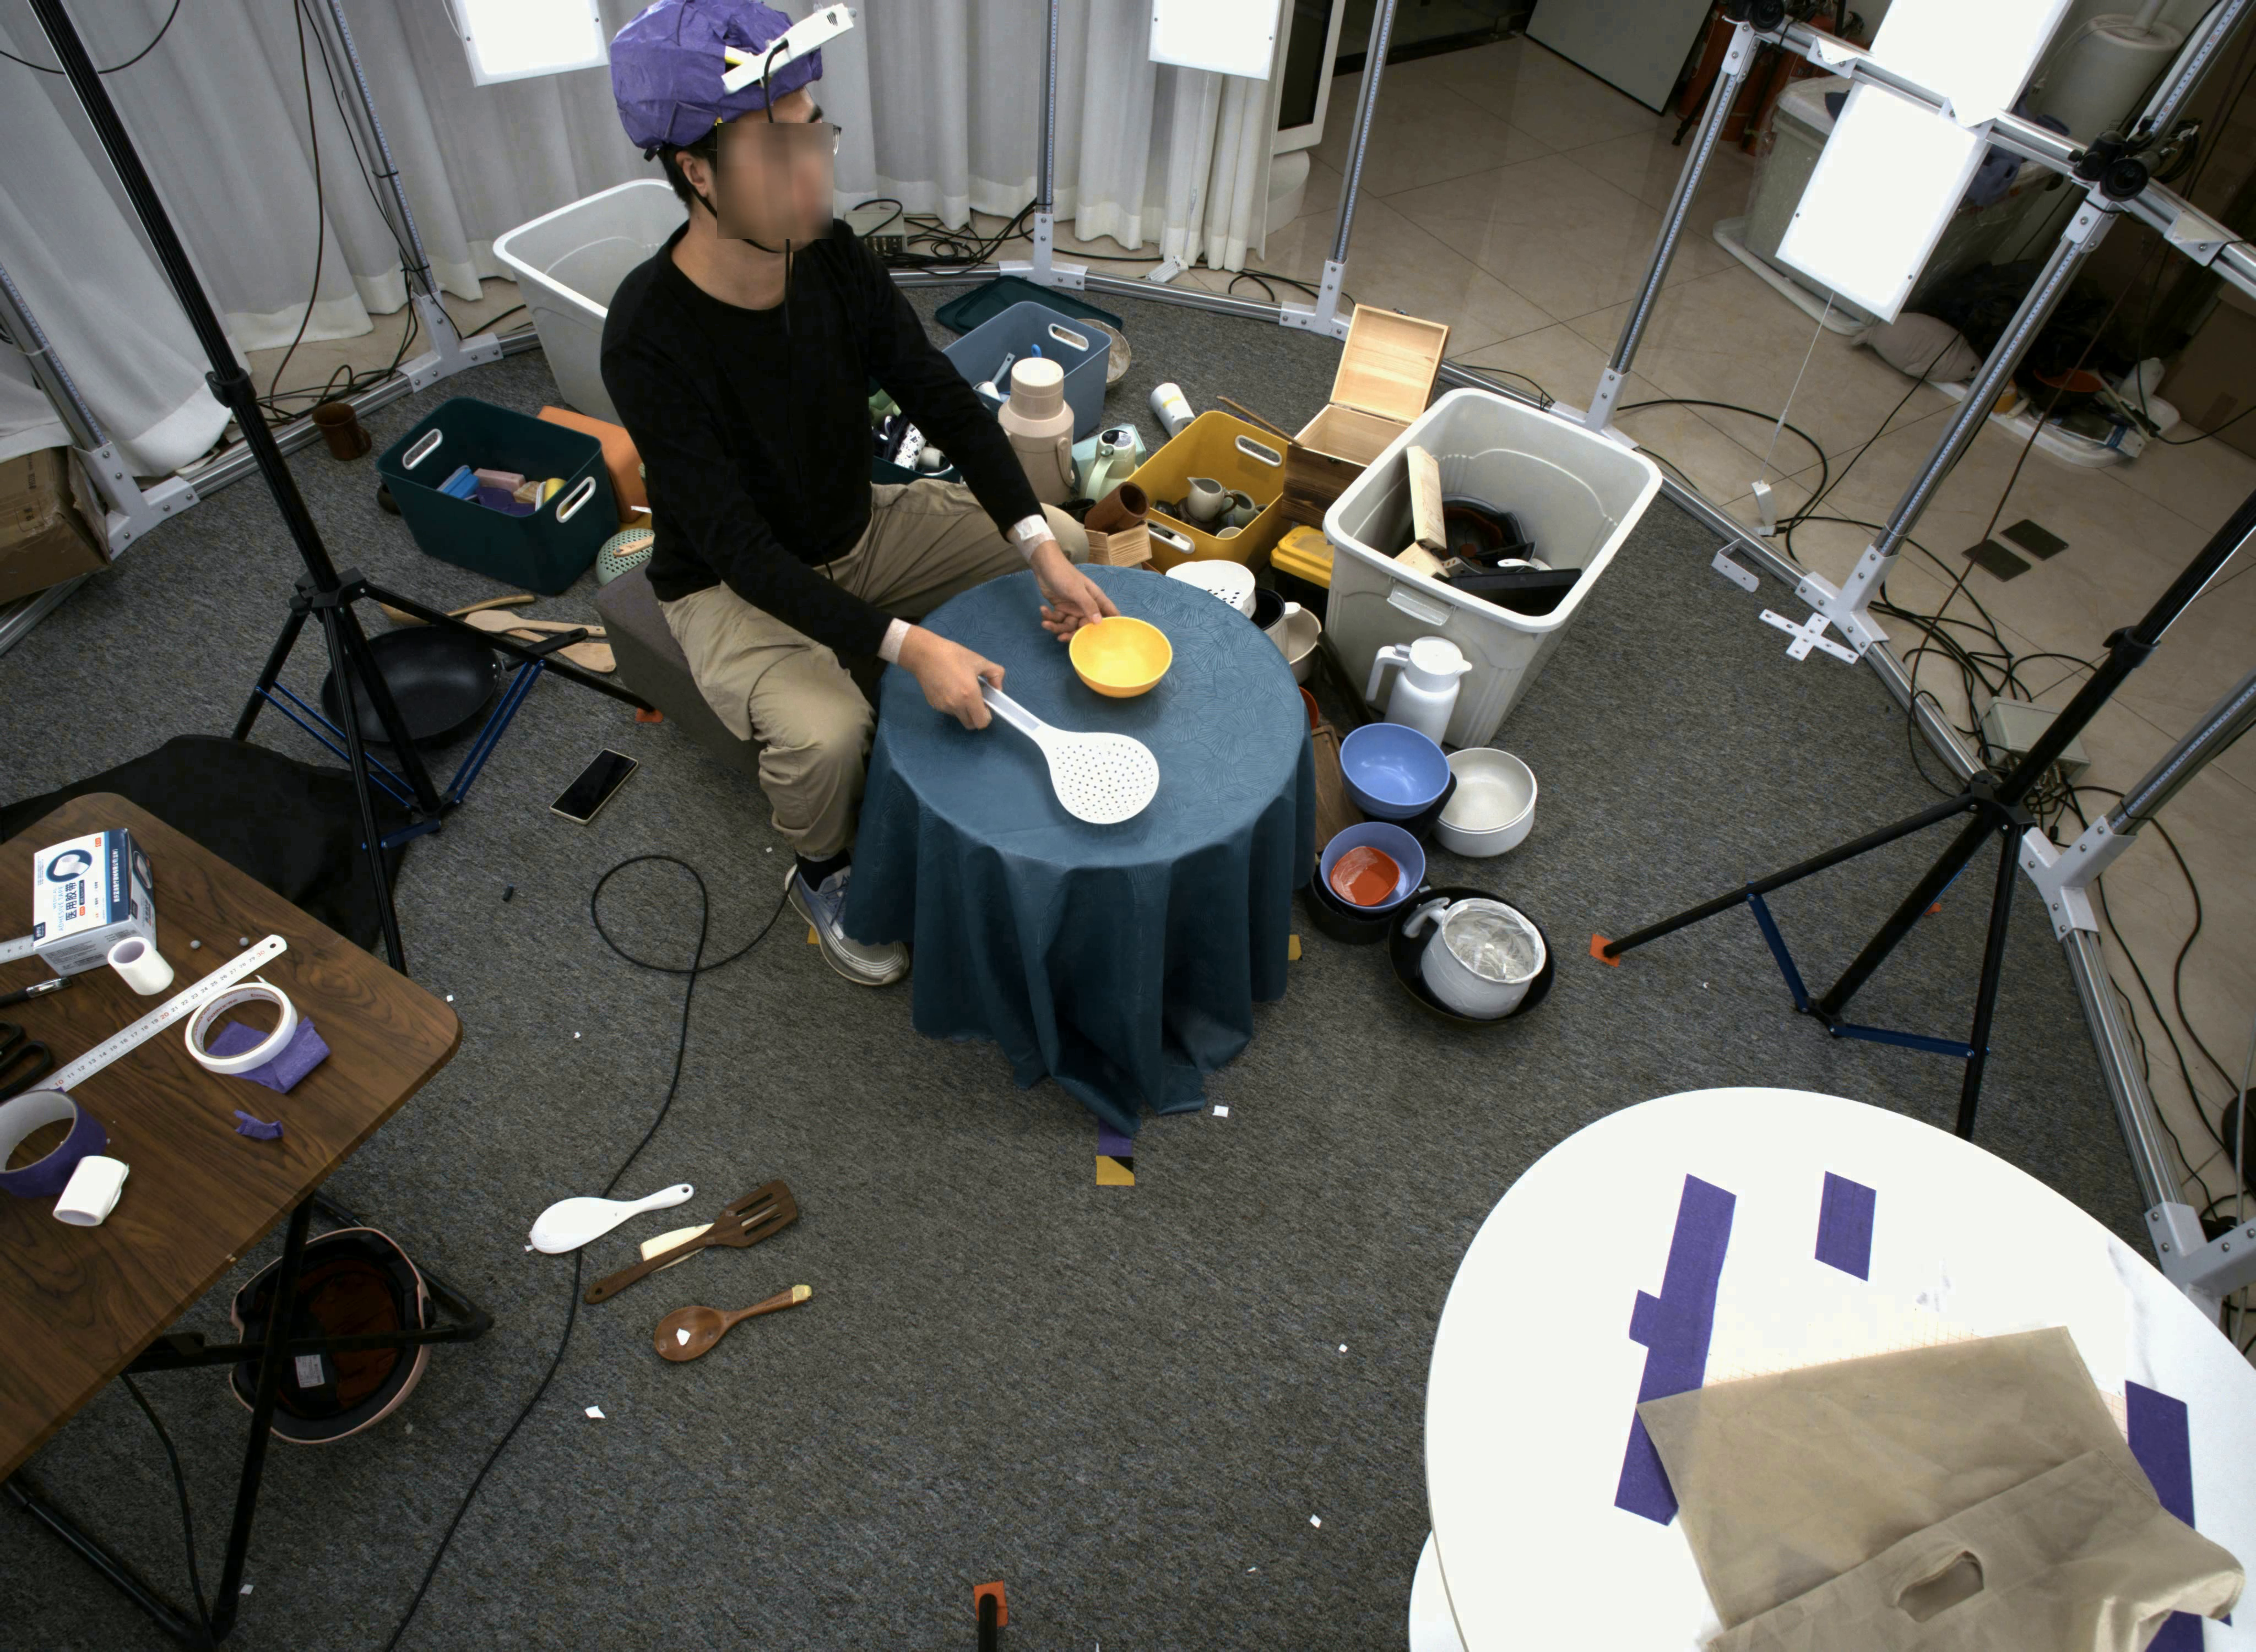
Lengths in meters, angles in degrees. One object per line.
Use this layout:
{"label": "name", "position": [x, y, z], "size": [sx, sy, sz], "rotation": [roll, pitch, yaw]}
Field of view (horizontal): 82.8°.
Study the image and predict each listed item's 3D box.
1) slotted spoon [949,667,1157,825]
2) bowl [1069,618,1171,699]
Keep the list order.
{"label": "slotted spoon", "position": [-0.110, -0.117, 1.719], "size": [0.354, 0.045, 0.137], "rotation": [37, 70, 20]}
{"label": "bowl", "position": [-0.014, -0.227, 1.830], "size": [0.145, 0.058, 0.149], "rotation": [3, 48, -4]}
